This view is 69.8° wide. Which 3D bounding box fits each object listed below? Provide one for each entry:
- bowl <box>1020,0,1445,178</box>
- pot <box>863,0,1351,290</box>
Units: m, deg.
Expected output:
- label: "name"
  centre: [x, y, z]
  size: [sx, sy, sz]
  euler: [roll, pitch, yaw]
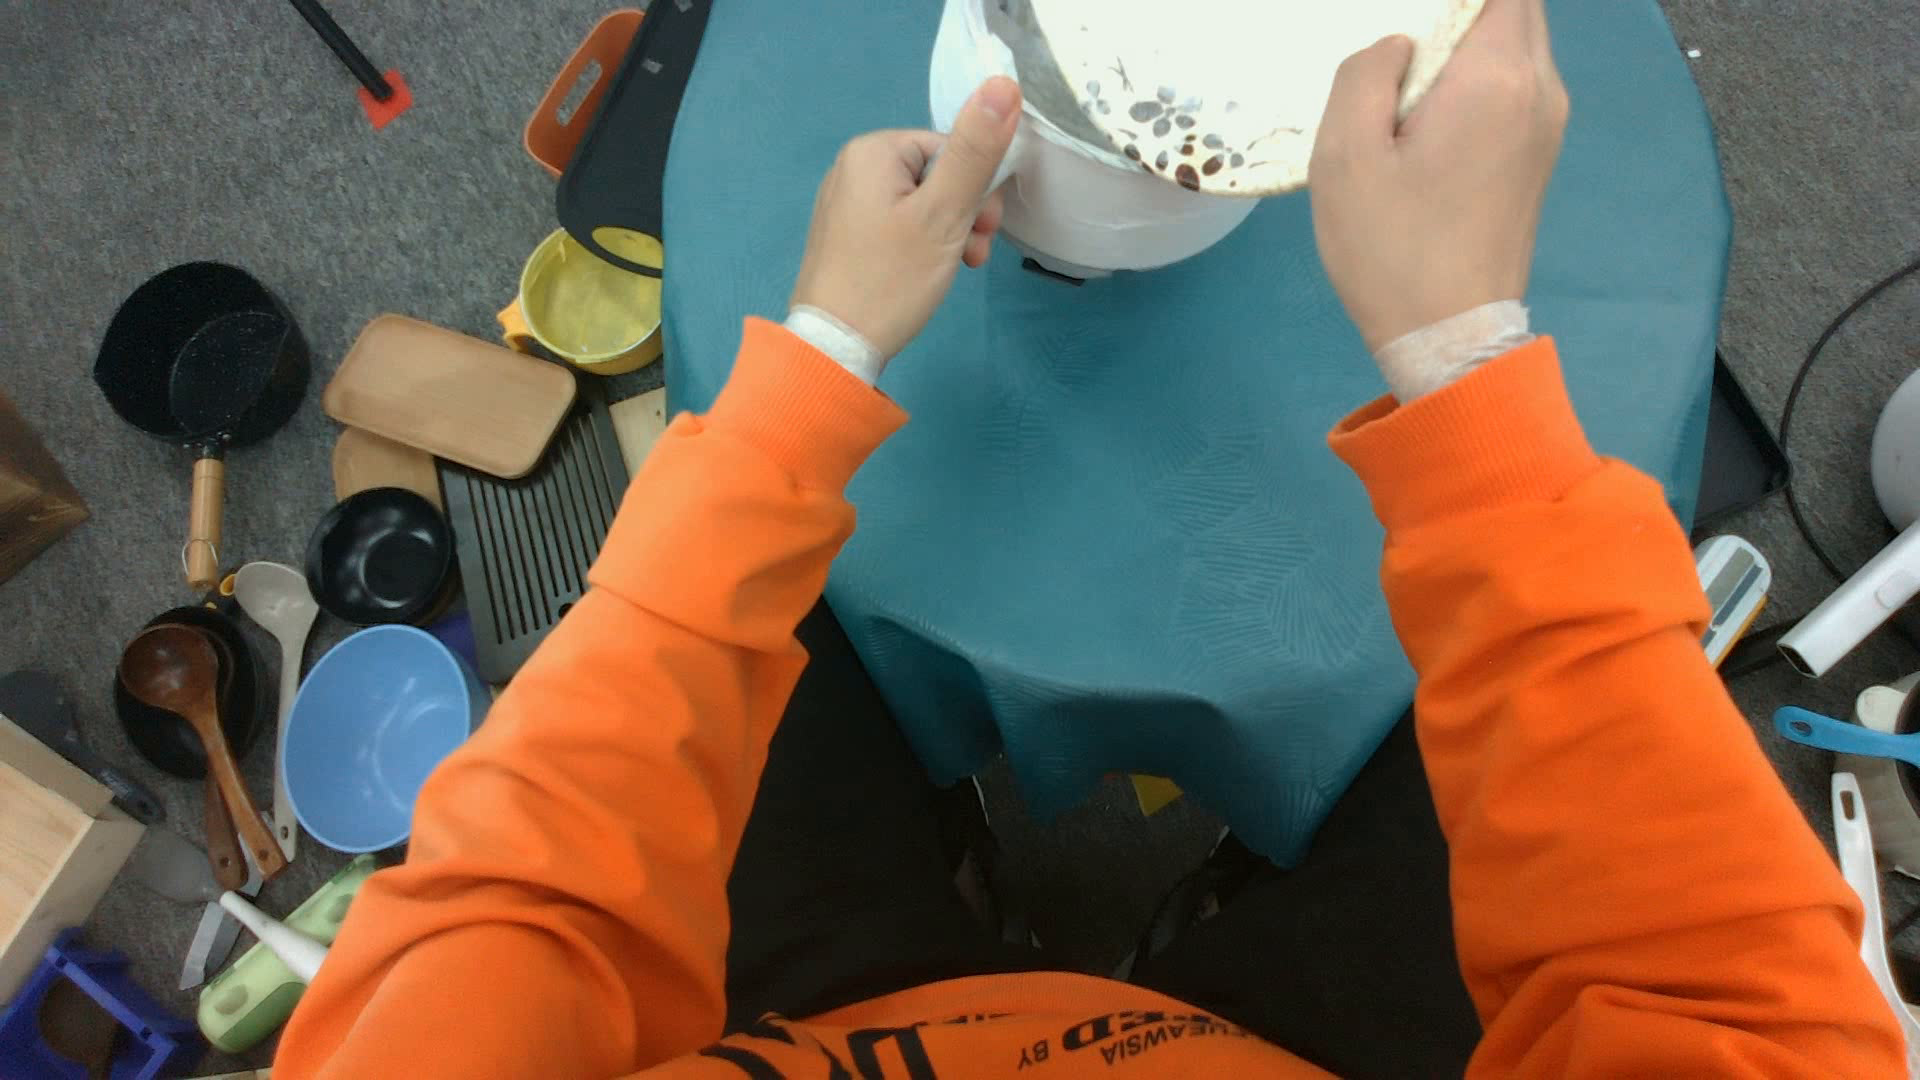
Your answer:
- label: "bowl"
  centre: [0.113, -0.248, 0.522]
  size: [0.078, 0.203, 0.204]
  euler: [-30, 71, -37]
- label: "pot"
  centre: [0.052, -0.210, 0.637]
  size: [0.179, 0.136, 0.234]
  euler: [45, 75, 1]
